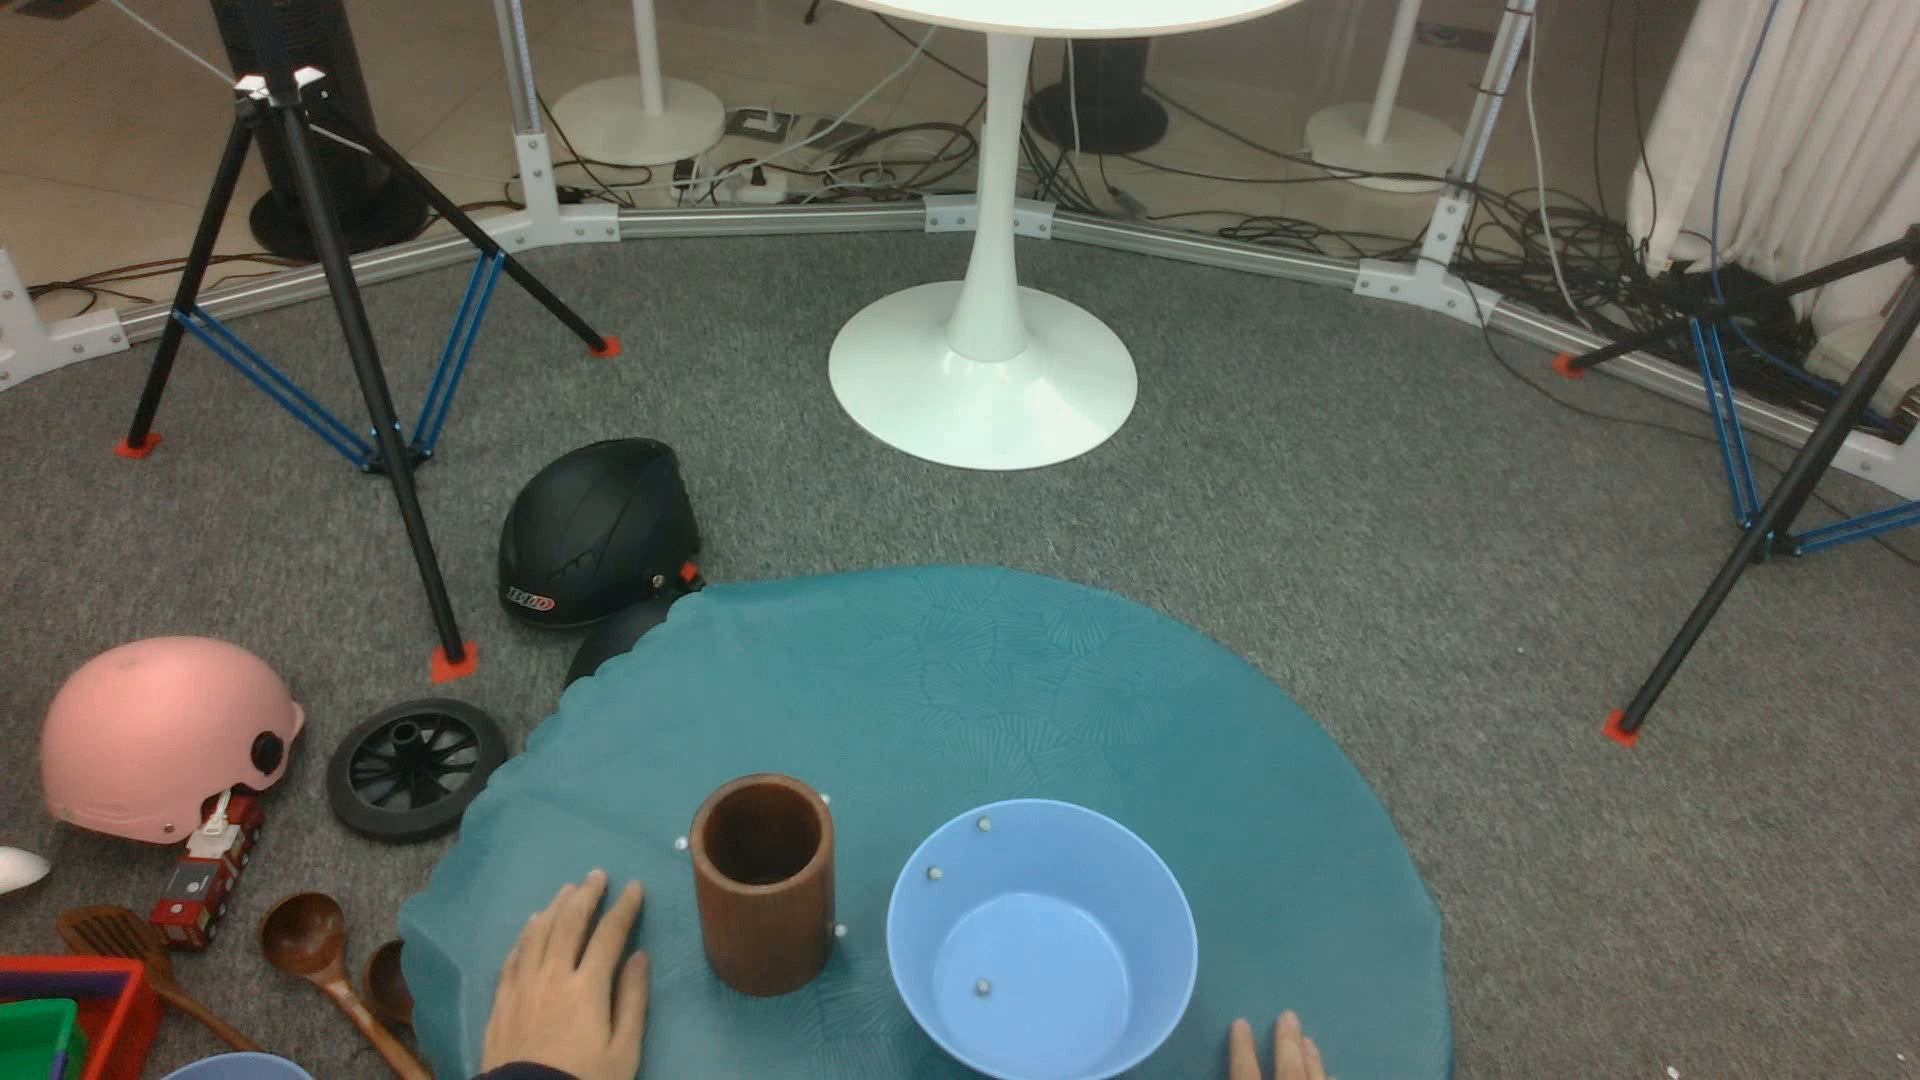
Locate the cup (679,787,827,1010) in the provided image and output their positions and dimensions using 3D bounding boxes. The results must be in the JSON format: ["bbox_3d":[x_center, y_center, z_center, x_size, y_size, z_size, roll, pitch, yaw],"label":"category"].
[{"bbox_3d":[-0.118,0.211,0.807,0.088,0.118,0.088,2,45,-2],"label":"cup"}]

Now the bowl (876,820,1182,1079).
[{"bbox_3d":[0.038,0.256,0.809,0.176,0.070,0.177,2,43,-2],"label":"bowl"}]
